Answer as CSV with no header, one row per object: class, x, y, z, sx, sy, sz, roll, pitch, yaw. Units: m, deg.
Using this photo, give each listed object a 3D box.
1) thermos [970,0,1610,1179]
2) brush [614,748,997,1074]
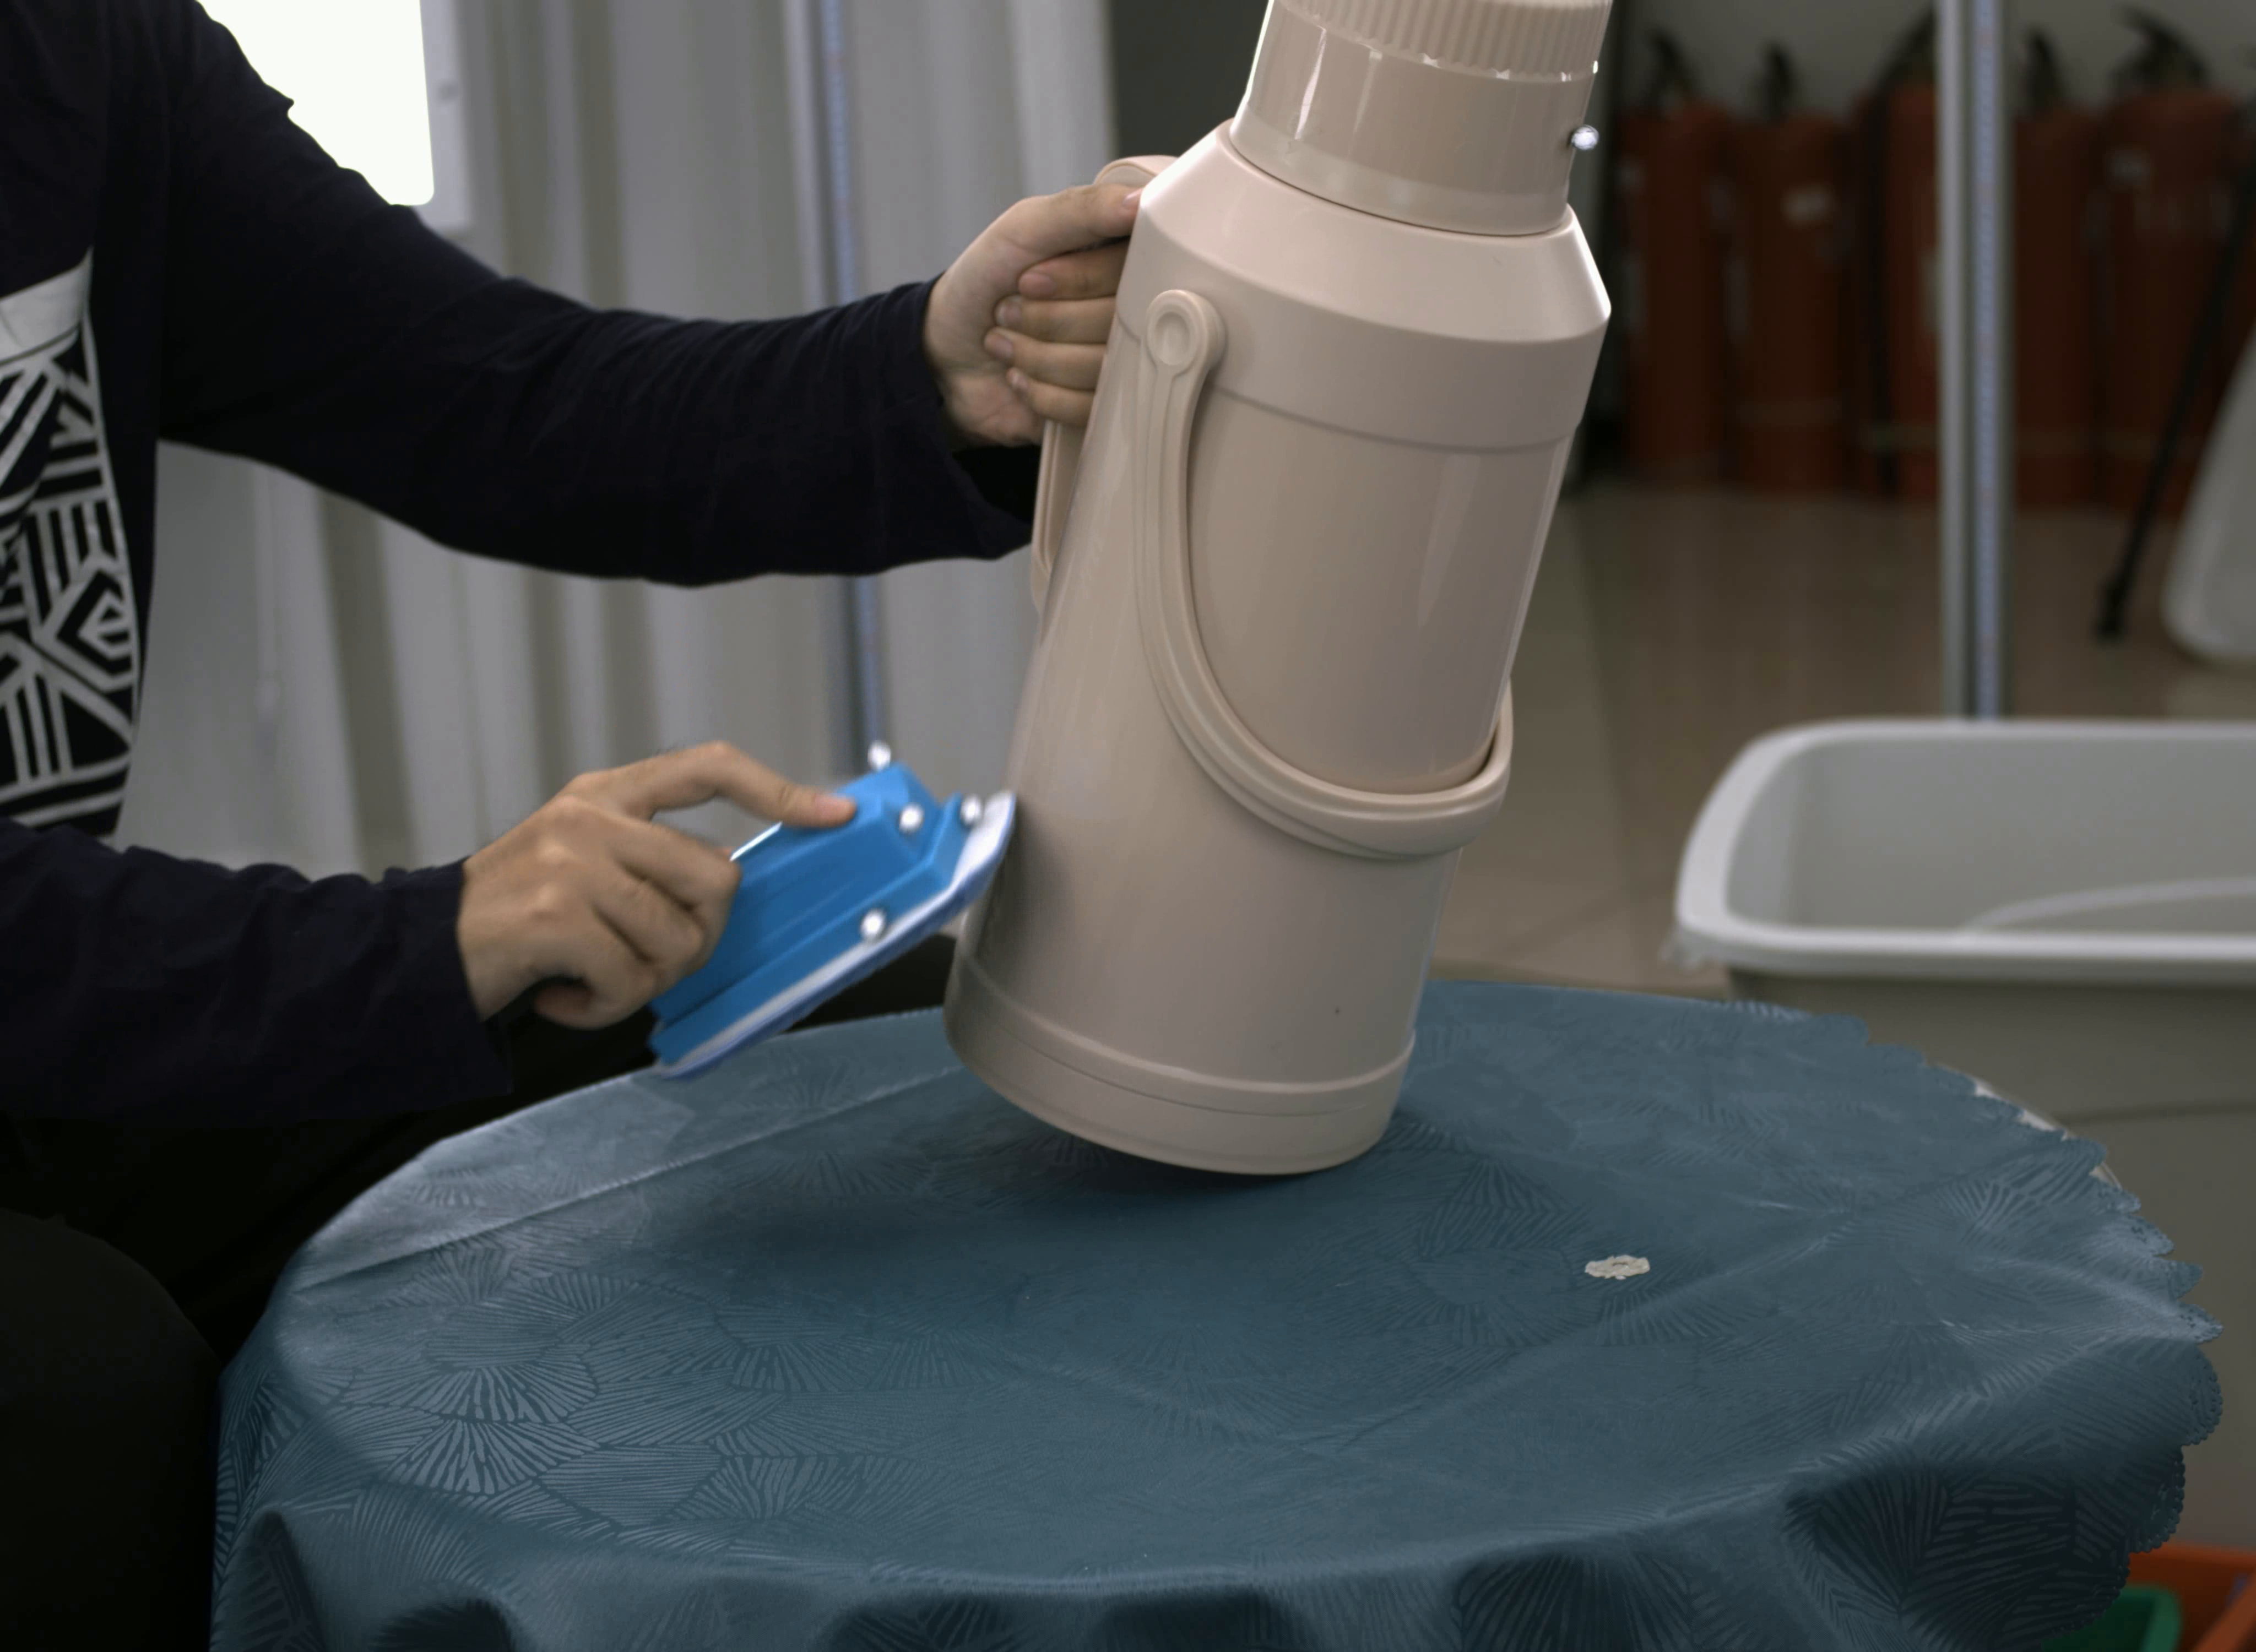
thermos,0.051,-0.105,1.769,0.171,0.411,0.209,-12,31,-44
brush,-0.112,0.022,1.760,0.144,0.056,0.083,-32,12,23
